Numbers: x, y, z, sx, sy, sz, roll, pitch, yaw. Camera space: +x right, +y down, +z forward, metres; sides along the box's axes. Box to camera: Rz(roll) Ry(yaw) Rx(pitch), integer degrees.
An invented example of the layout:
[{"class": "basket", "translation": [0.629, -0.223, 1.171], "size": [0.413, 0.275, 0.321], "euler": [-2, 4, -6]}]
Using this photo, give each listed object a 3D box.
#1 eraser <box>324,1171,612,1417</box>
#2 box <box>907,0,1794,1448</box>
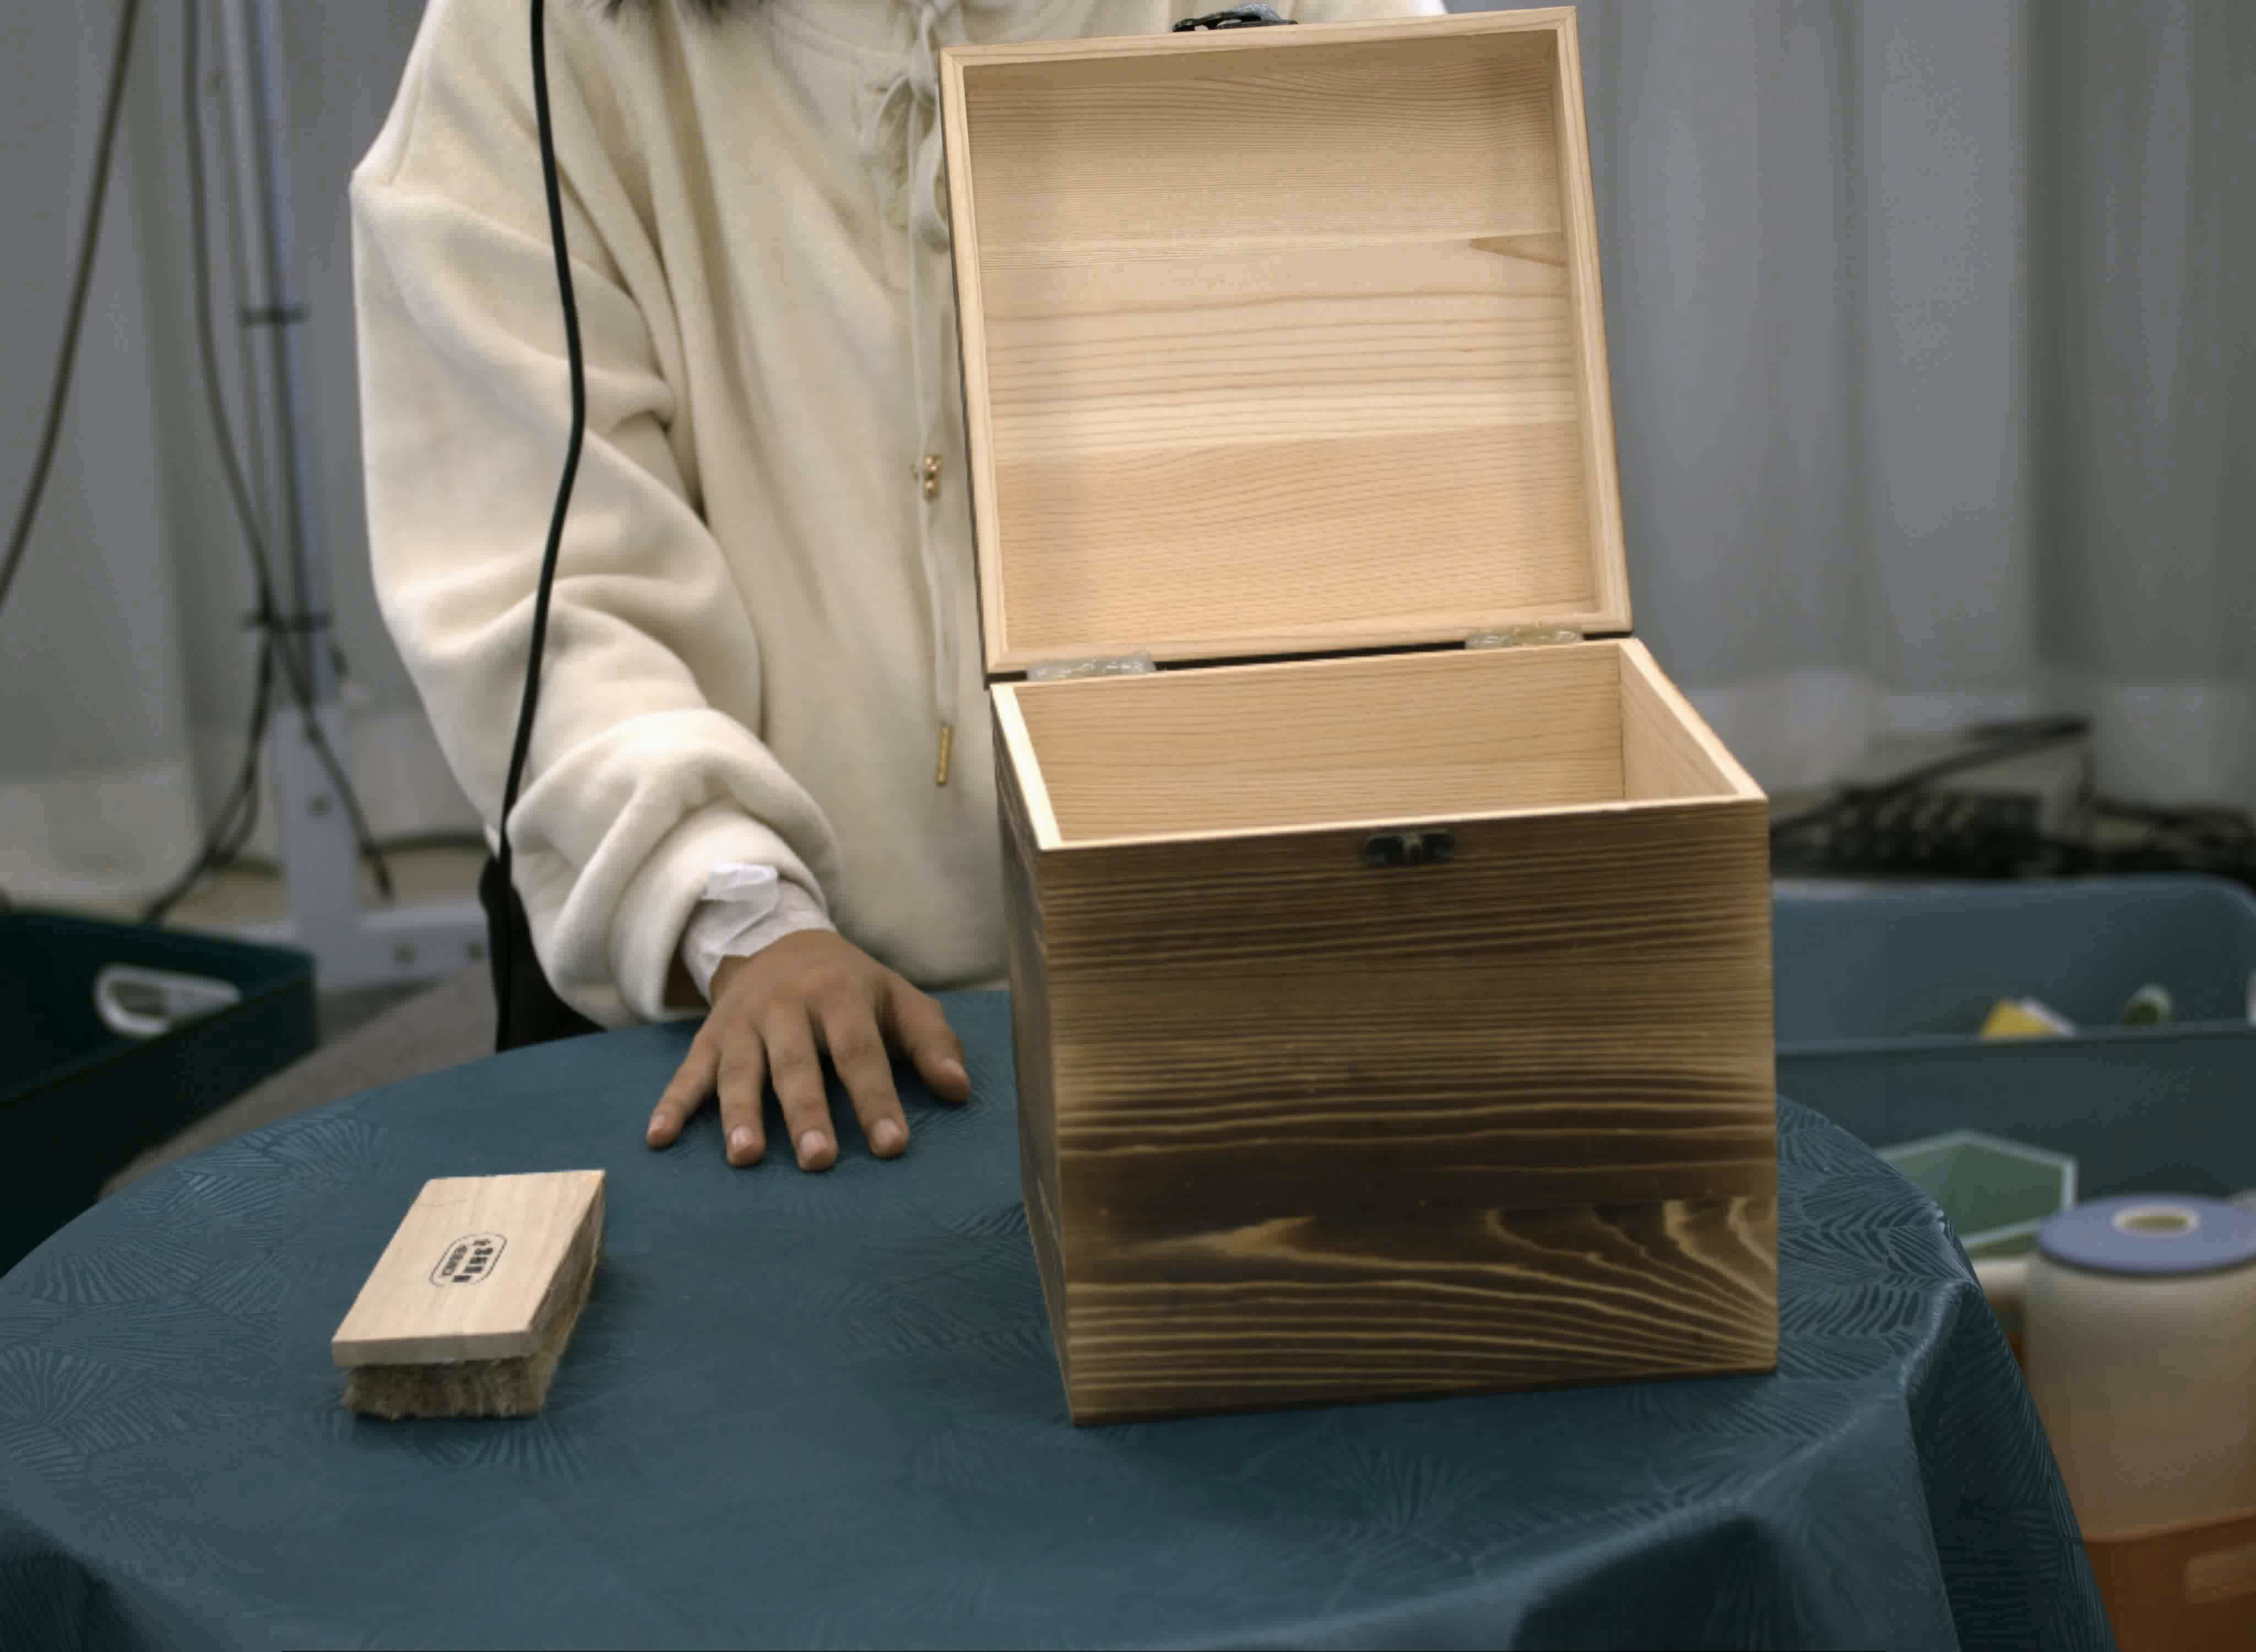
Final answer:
[{"class": "eraser", "translation": [-0.192, 0.138, 1.609], "size": [0.057, 0.029, 0.140], "euler": [-4, 14, 7]}, {"class": "box", "translation": [0.058, -0.052, 1.627], "size": [0.208, 0.374, 0.324], "euler": [-5, 14, -5]}]
